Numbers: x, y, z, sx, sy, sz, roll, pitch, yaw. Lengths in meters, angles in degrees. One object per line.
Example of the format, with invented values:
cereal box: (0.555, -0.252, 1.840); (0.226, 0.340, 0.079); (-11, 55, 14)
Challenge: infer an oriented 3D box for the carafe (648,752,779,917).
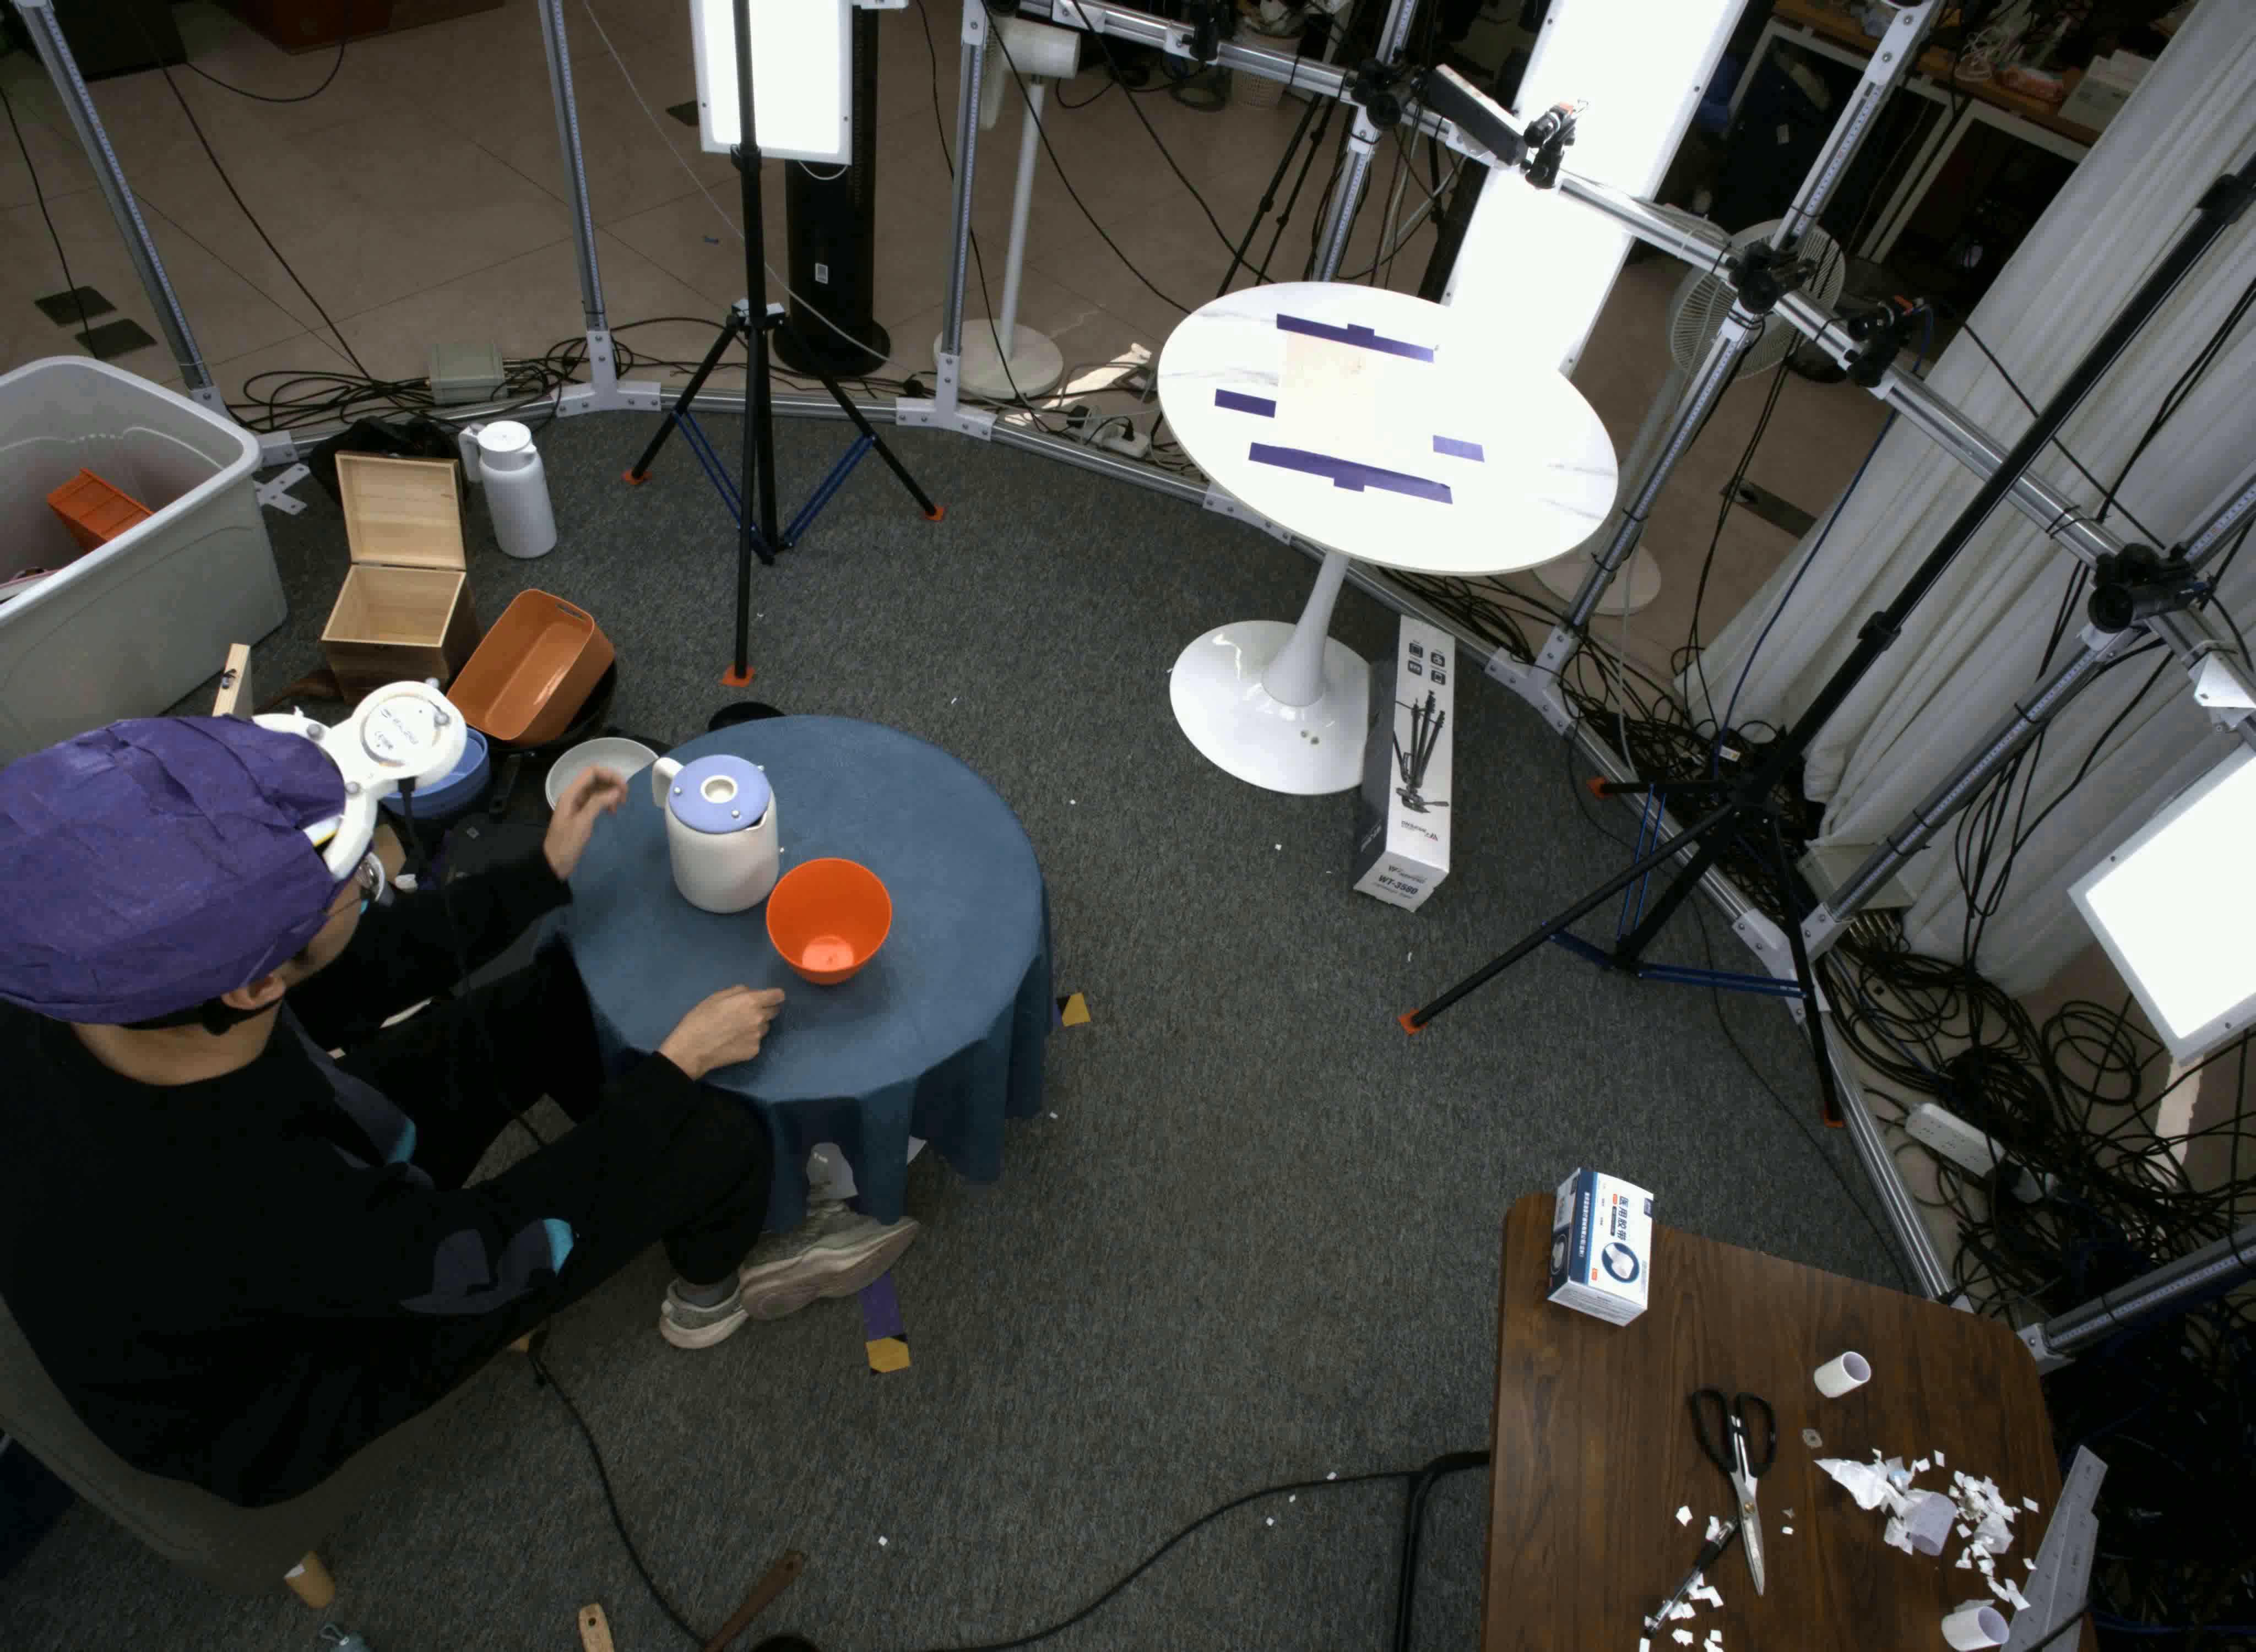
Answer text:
carafe: (-0.520, -0.003, 1.596); (0.187, 0.187, 0.132); (30, 51, 13)

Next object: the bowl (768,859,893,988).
bowl: (-0.362, 0.129, 1.586); (0.148, 0.107, 0.145); (8, 51, -8)
